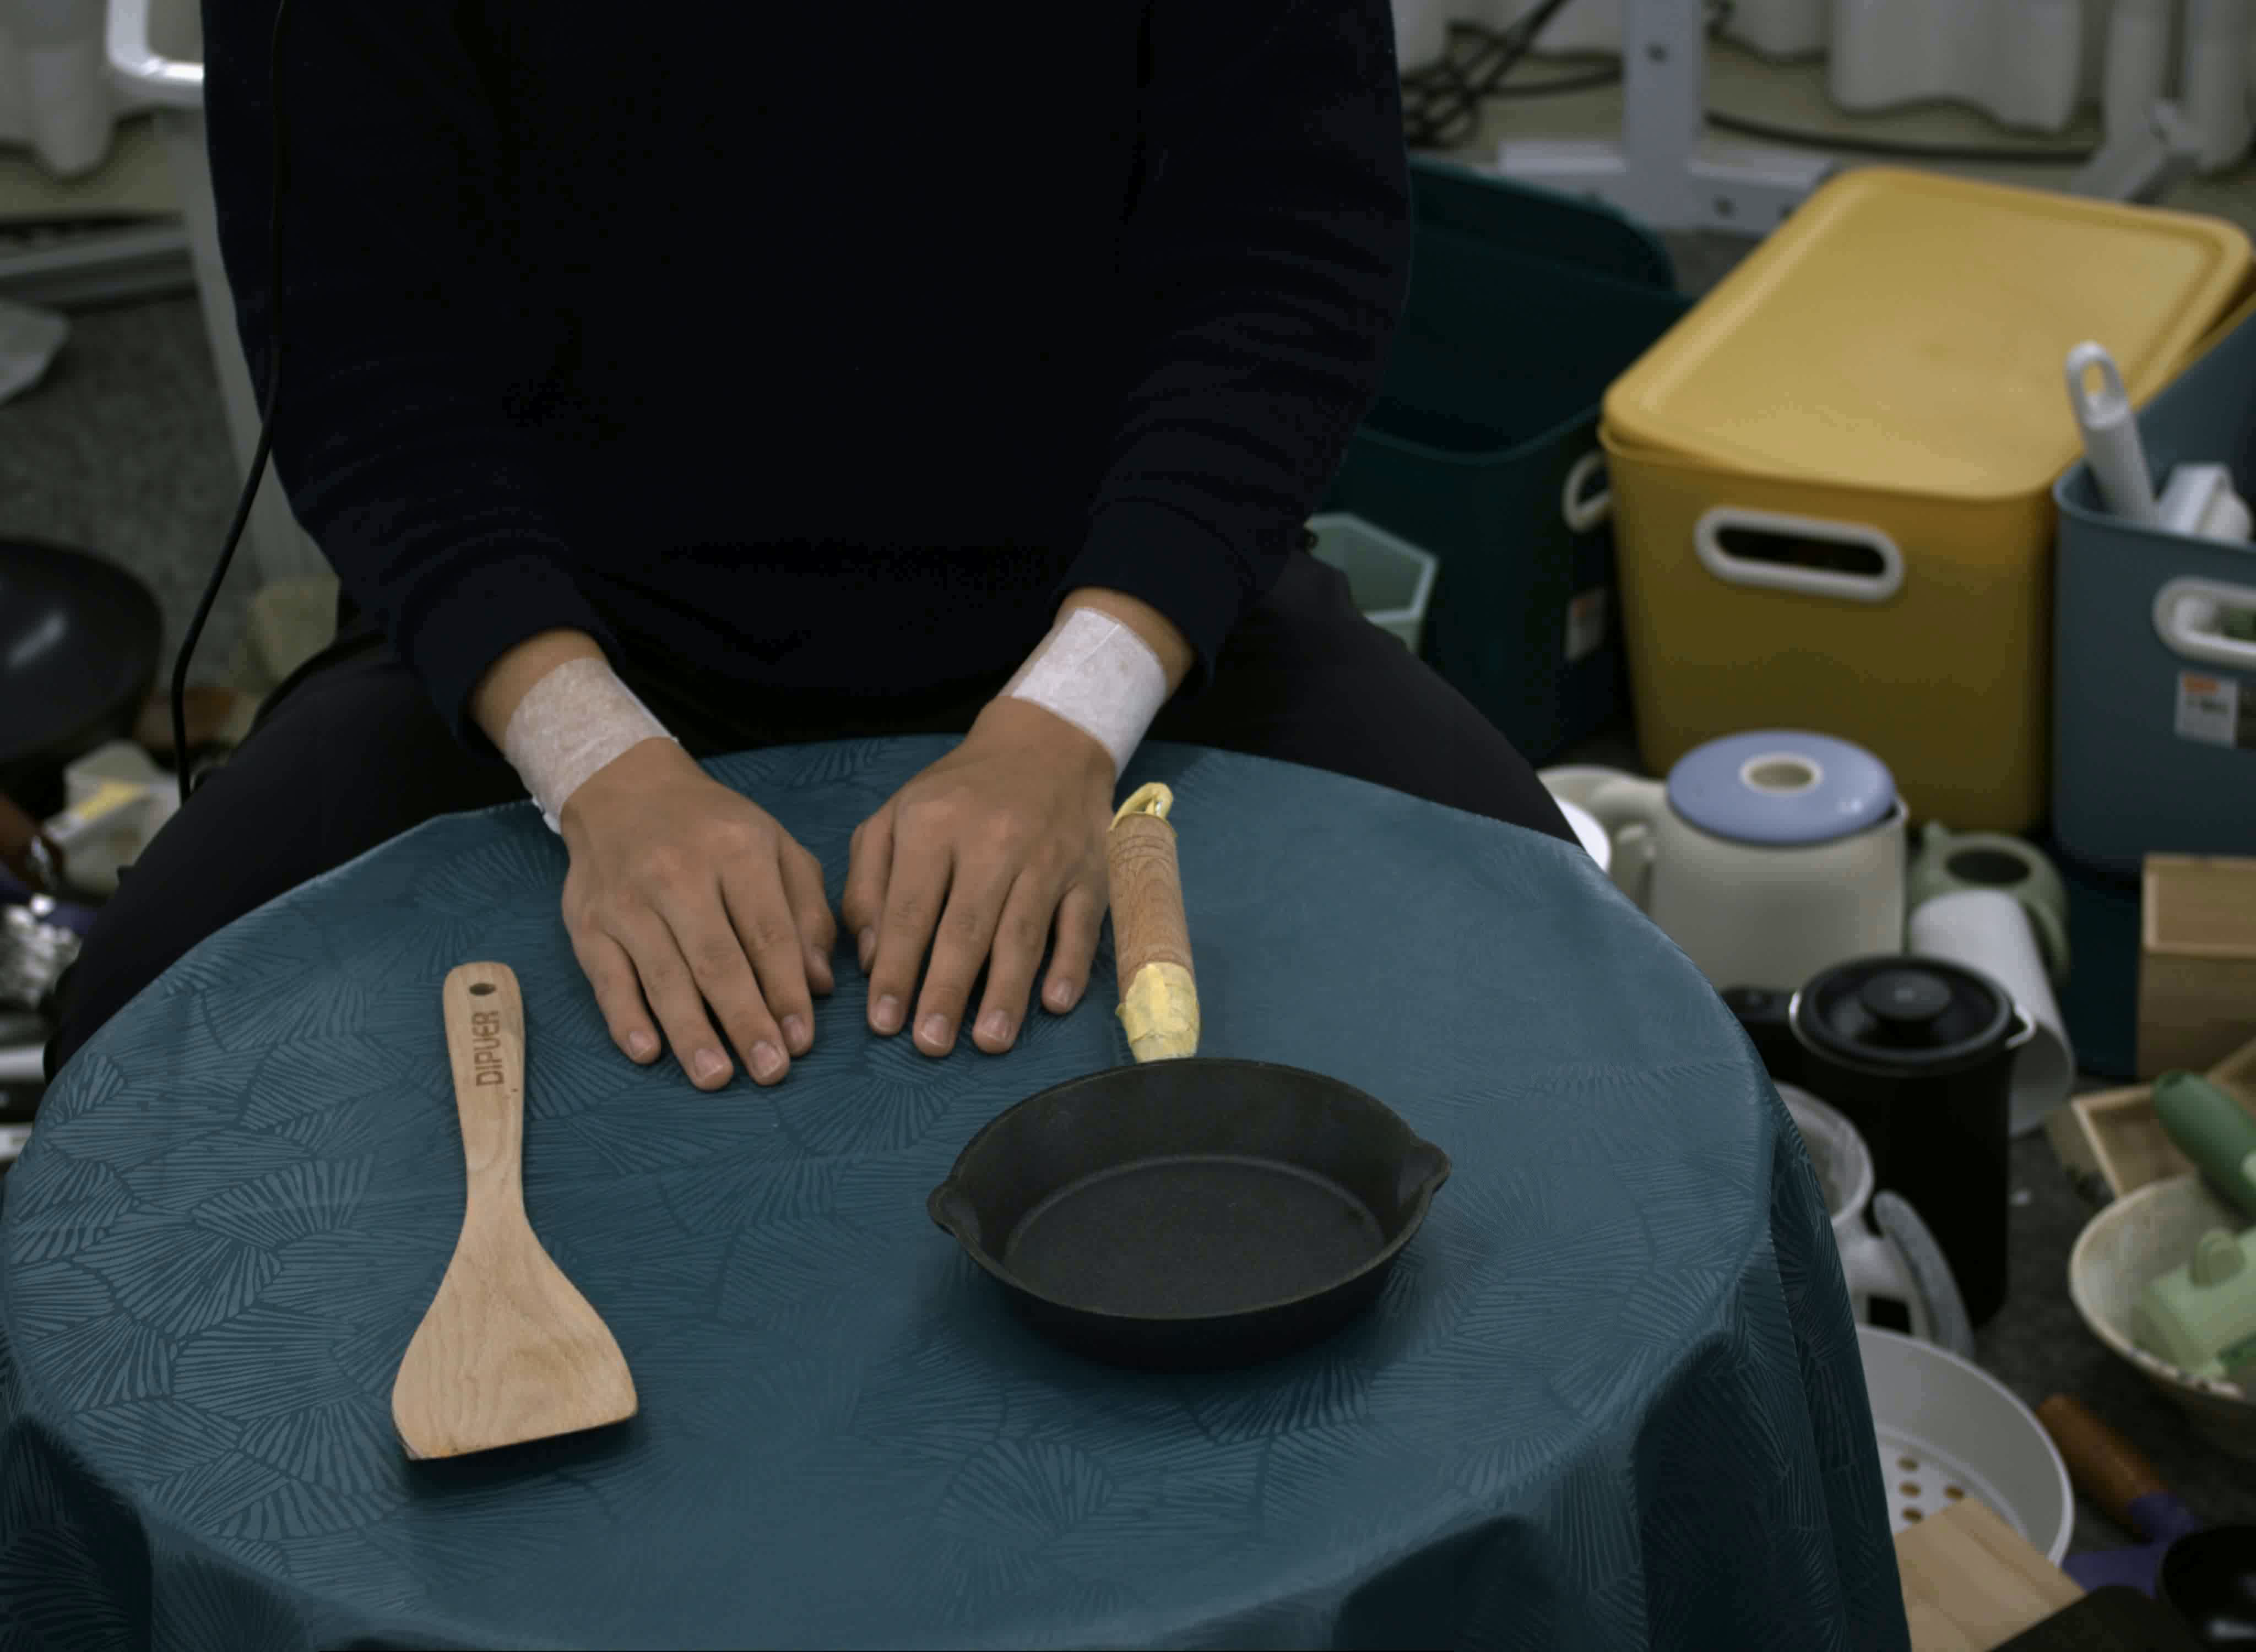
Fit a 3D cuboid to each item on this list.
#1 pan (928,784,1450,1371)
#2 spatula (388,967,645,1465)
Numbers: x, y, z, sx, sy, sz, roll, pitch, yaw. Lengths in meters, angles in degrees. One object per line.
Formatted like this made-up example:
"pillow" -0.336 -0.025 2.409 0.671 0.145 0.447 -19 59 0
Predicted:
"pan" 0.016 0.081 1.884 0.168 0.049 0.329 -4 29 -1
"spatula" -0.209 0.123 1.862 0.080 0.016 0.332 -5 28 -6
